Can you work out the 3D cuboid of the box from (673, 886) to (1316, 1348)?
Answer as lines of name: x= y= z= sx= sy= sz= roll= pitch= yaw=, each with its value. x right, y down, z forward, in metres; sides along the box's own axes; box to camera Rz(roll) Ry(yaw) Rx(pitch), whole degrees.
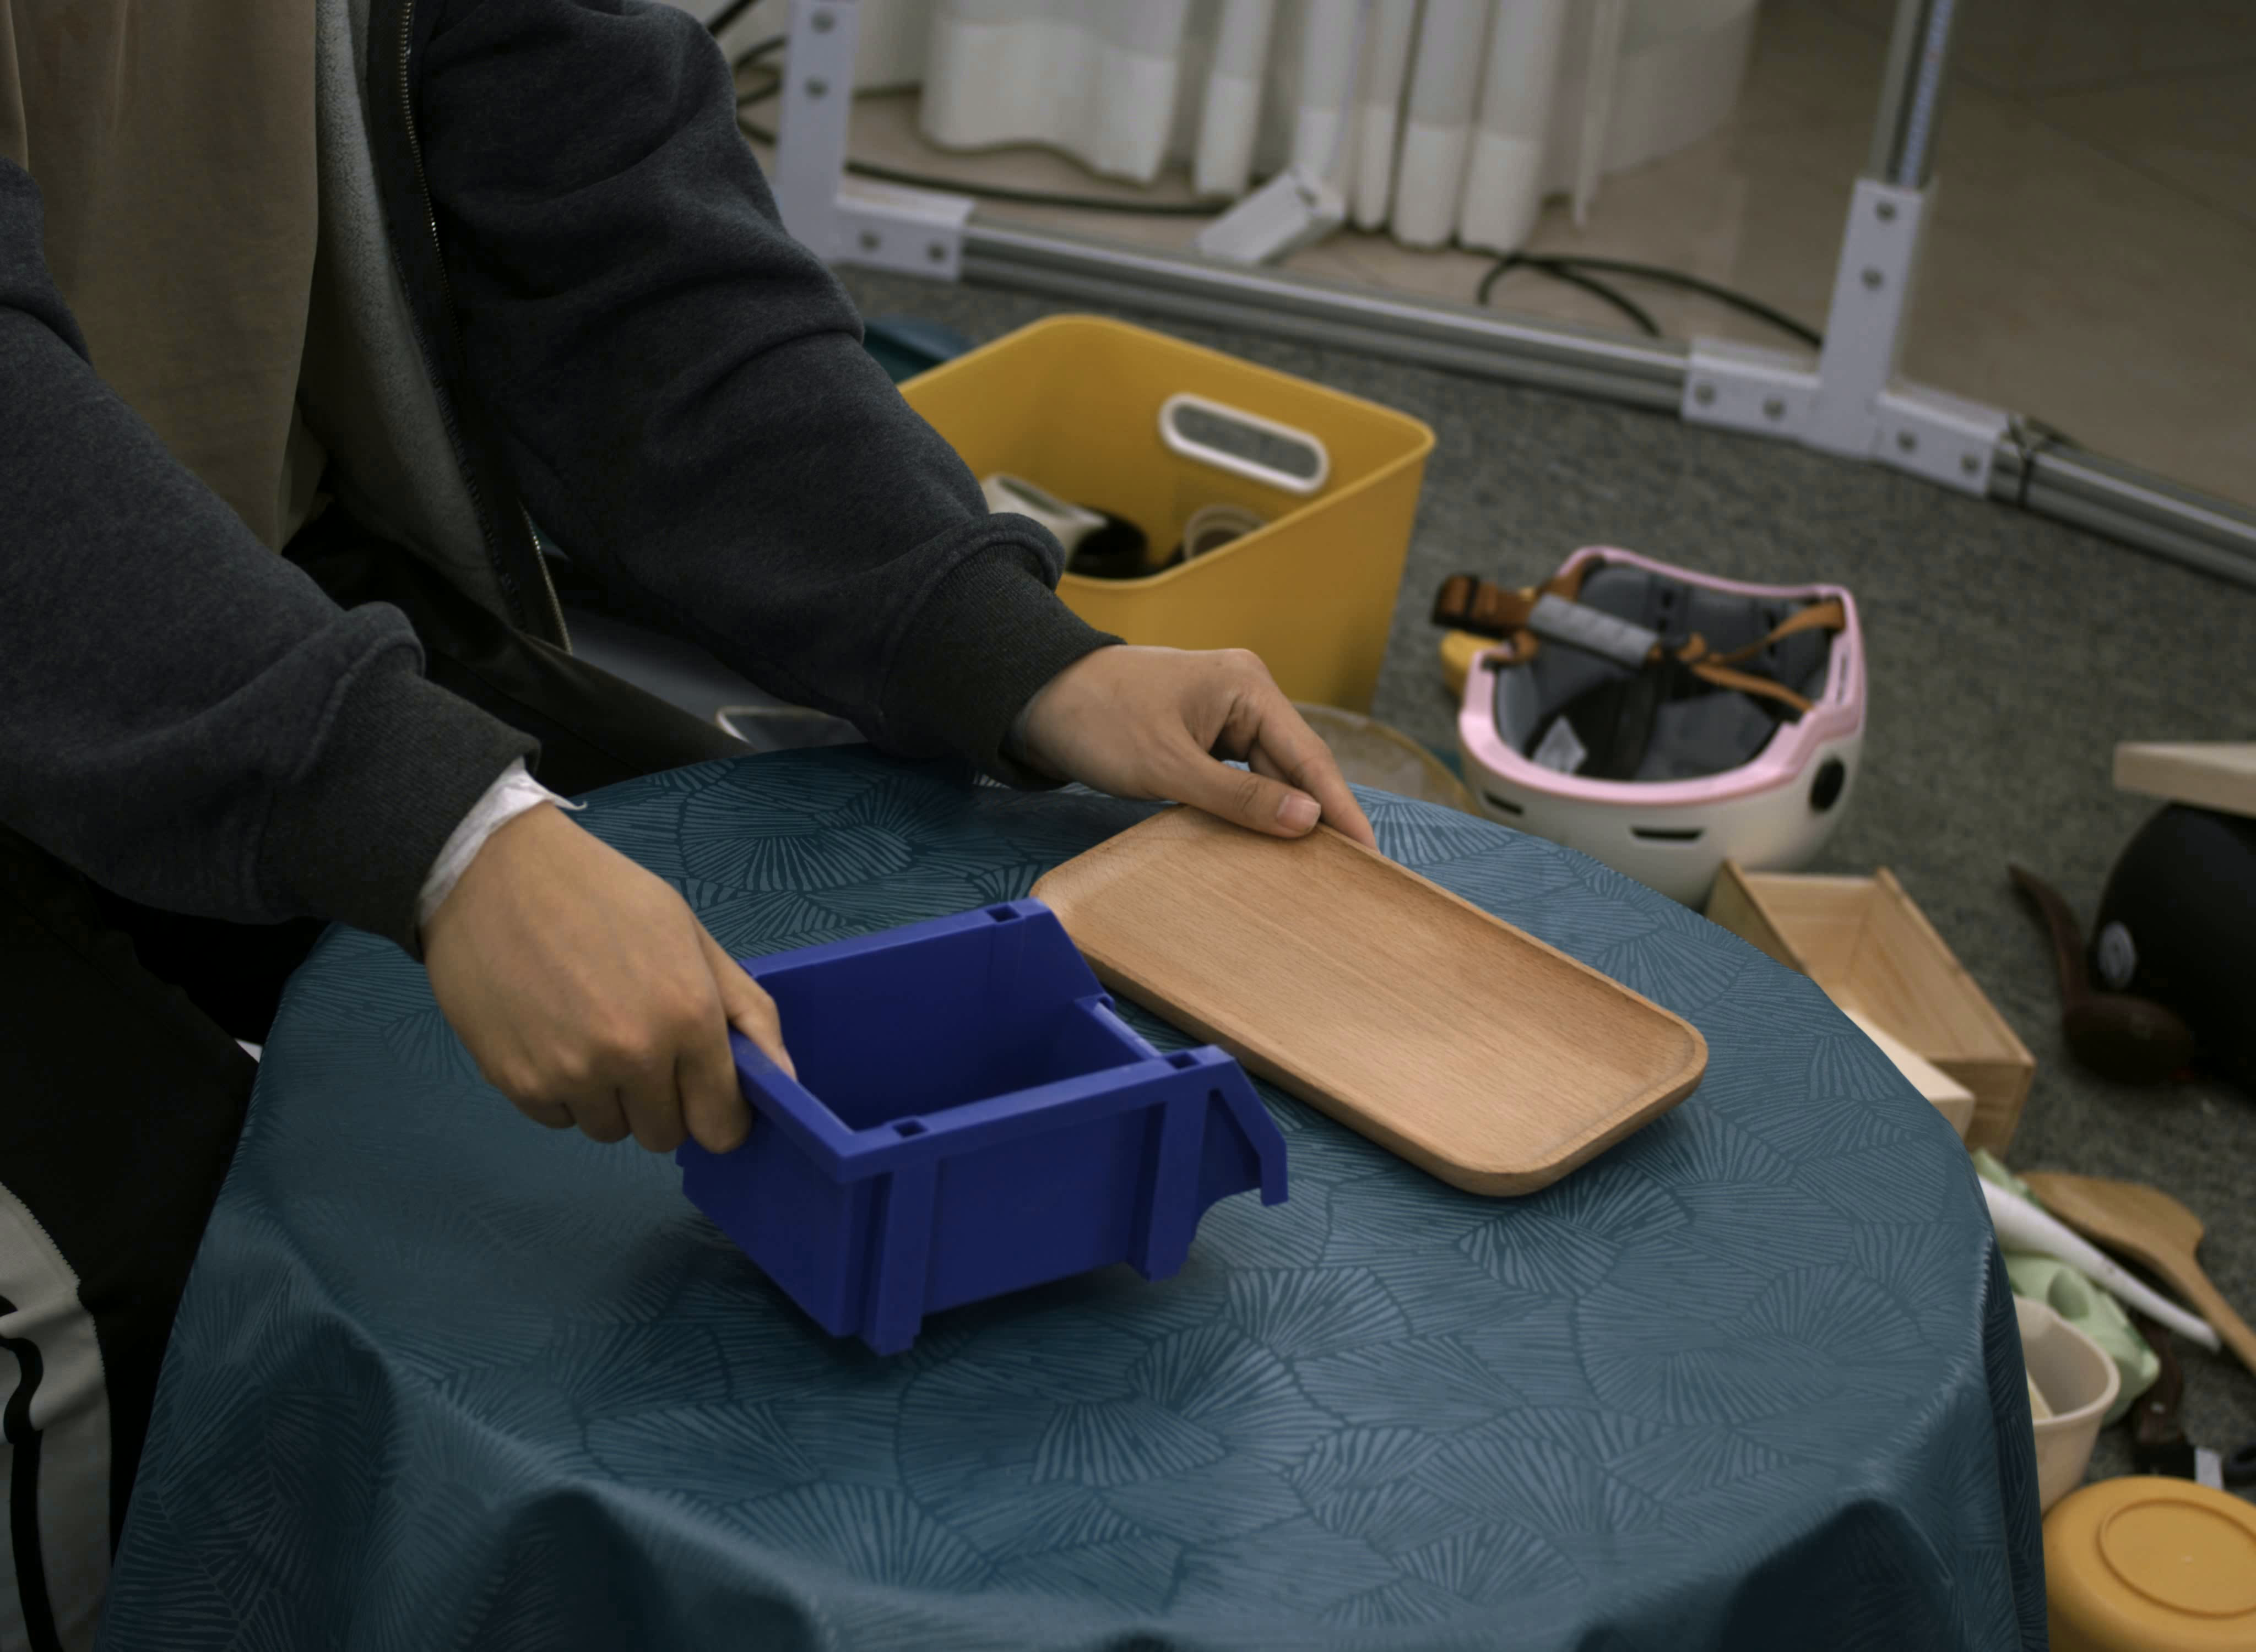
box: x=-0.044 y=0.091 z=1.738 sx=0.178 sy=0.081 sz=0.125 roll=-14 pitch=33 yaw=-28

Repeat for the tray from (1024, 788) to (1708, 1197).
tray: x=0.083 y=0.058 z=1.914 sx=0.130 sy=0.023 sz=0.252 roll=-25 pitch=40 yaw=-38
